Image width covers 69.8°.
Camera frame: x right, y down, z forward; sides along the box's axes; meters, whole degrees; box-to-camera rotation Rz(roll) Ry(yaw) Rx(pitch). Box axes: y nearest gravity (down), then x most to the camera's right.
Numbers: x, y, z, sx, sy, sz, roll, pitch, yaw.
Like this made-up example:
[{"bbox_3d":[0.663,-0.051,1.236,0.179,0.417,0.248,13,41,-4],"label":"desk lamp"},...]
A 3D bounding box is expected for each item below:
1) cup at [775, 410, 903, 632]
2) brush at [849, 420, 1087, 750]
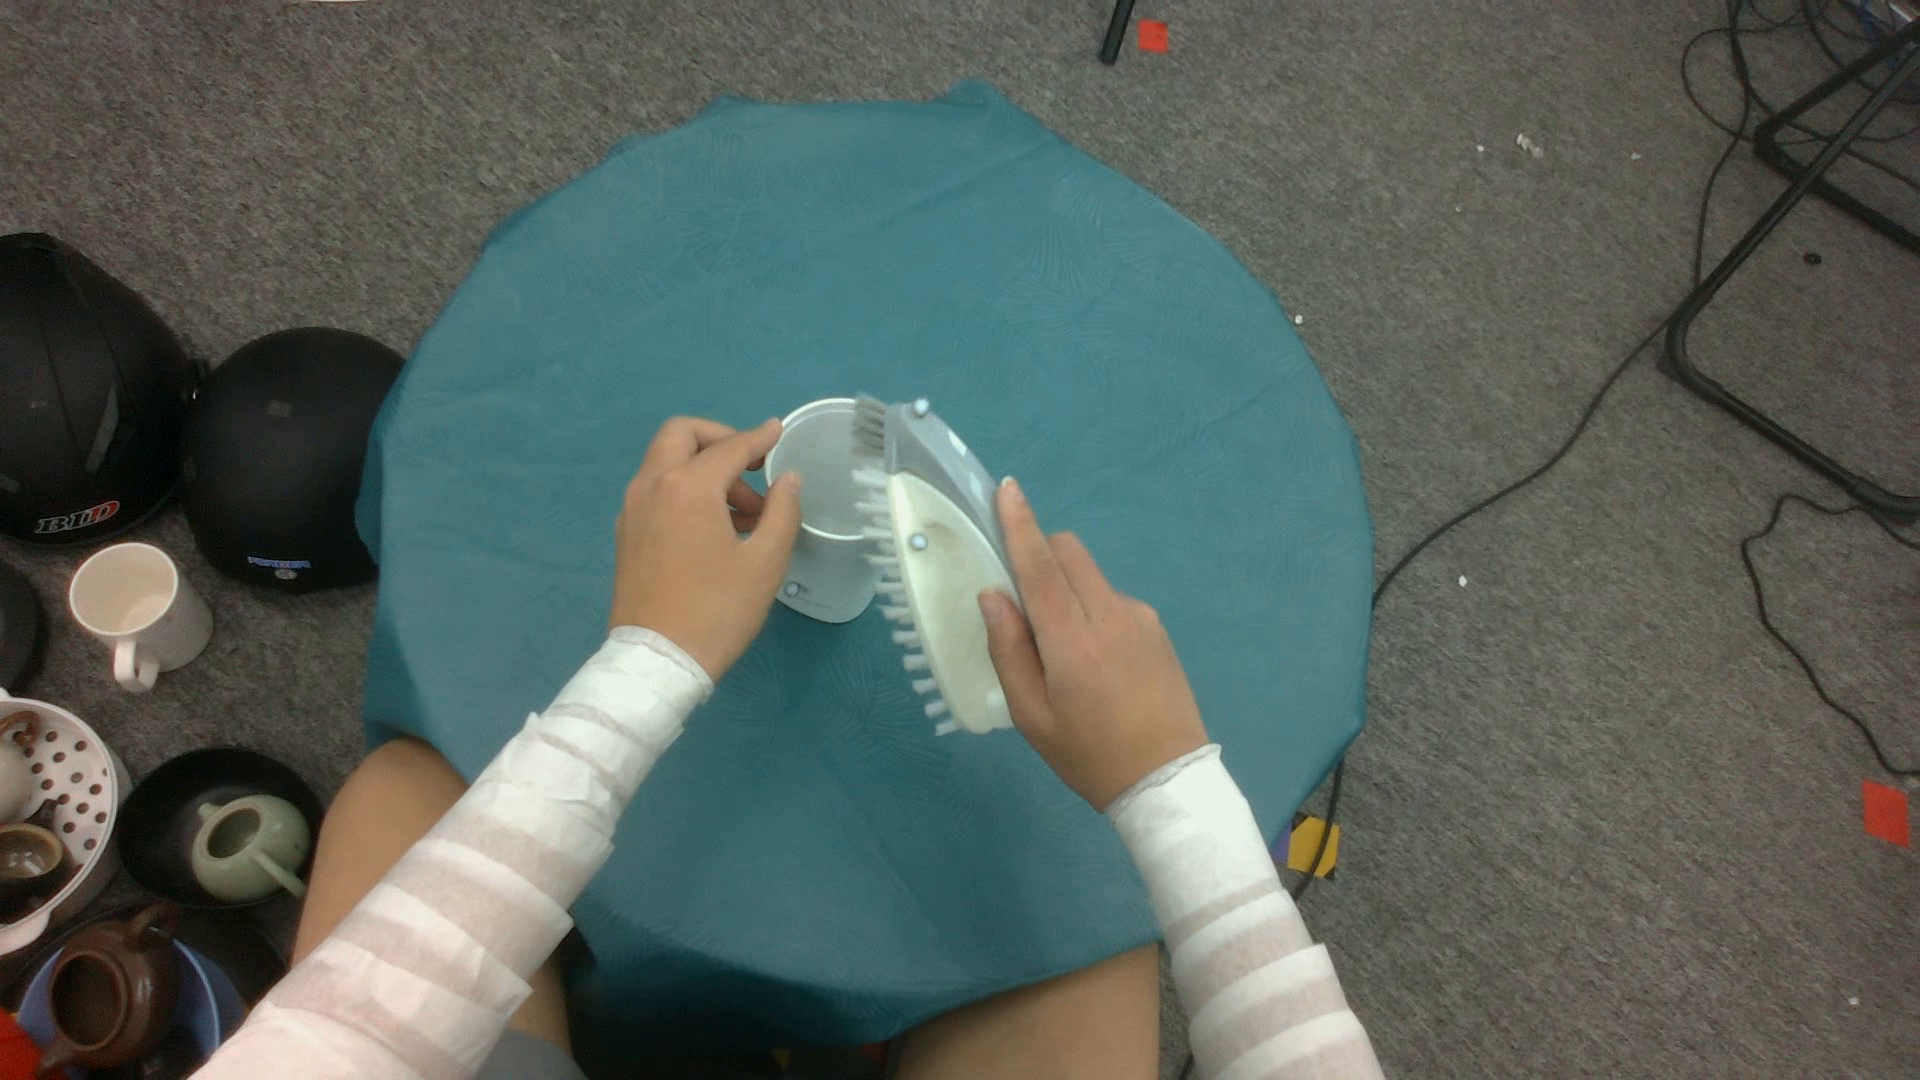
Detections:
[{"bbox_3d":[-0.064,-0.005,0.762,0.082,0.125,0.082,4,63,-8],"label":"cup"},{"bbox_3d":[0.006,0.016,0.670,0.062,0.094,0.175,-32,103,-40],"label":"brush"}]
